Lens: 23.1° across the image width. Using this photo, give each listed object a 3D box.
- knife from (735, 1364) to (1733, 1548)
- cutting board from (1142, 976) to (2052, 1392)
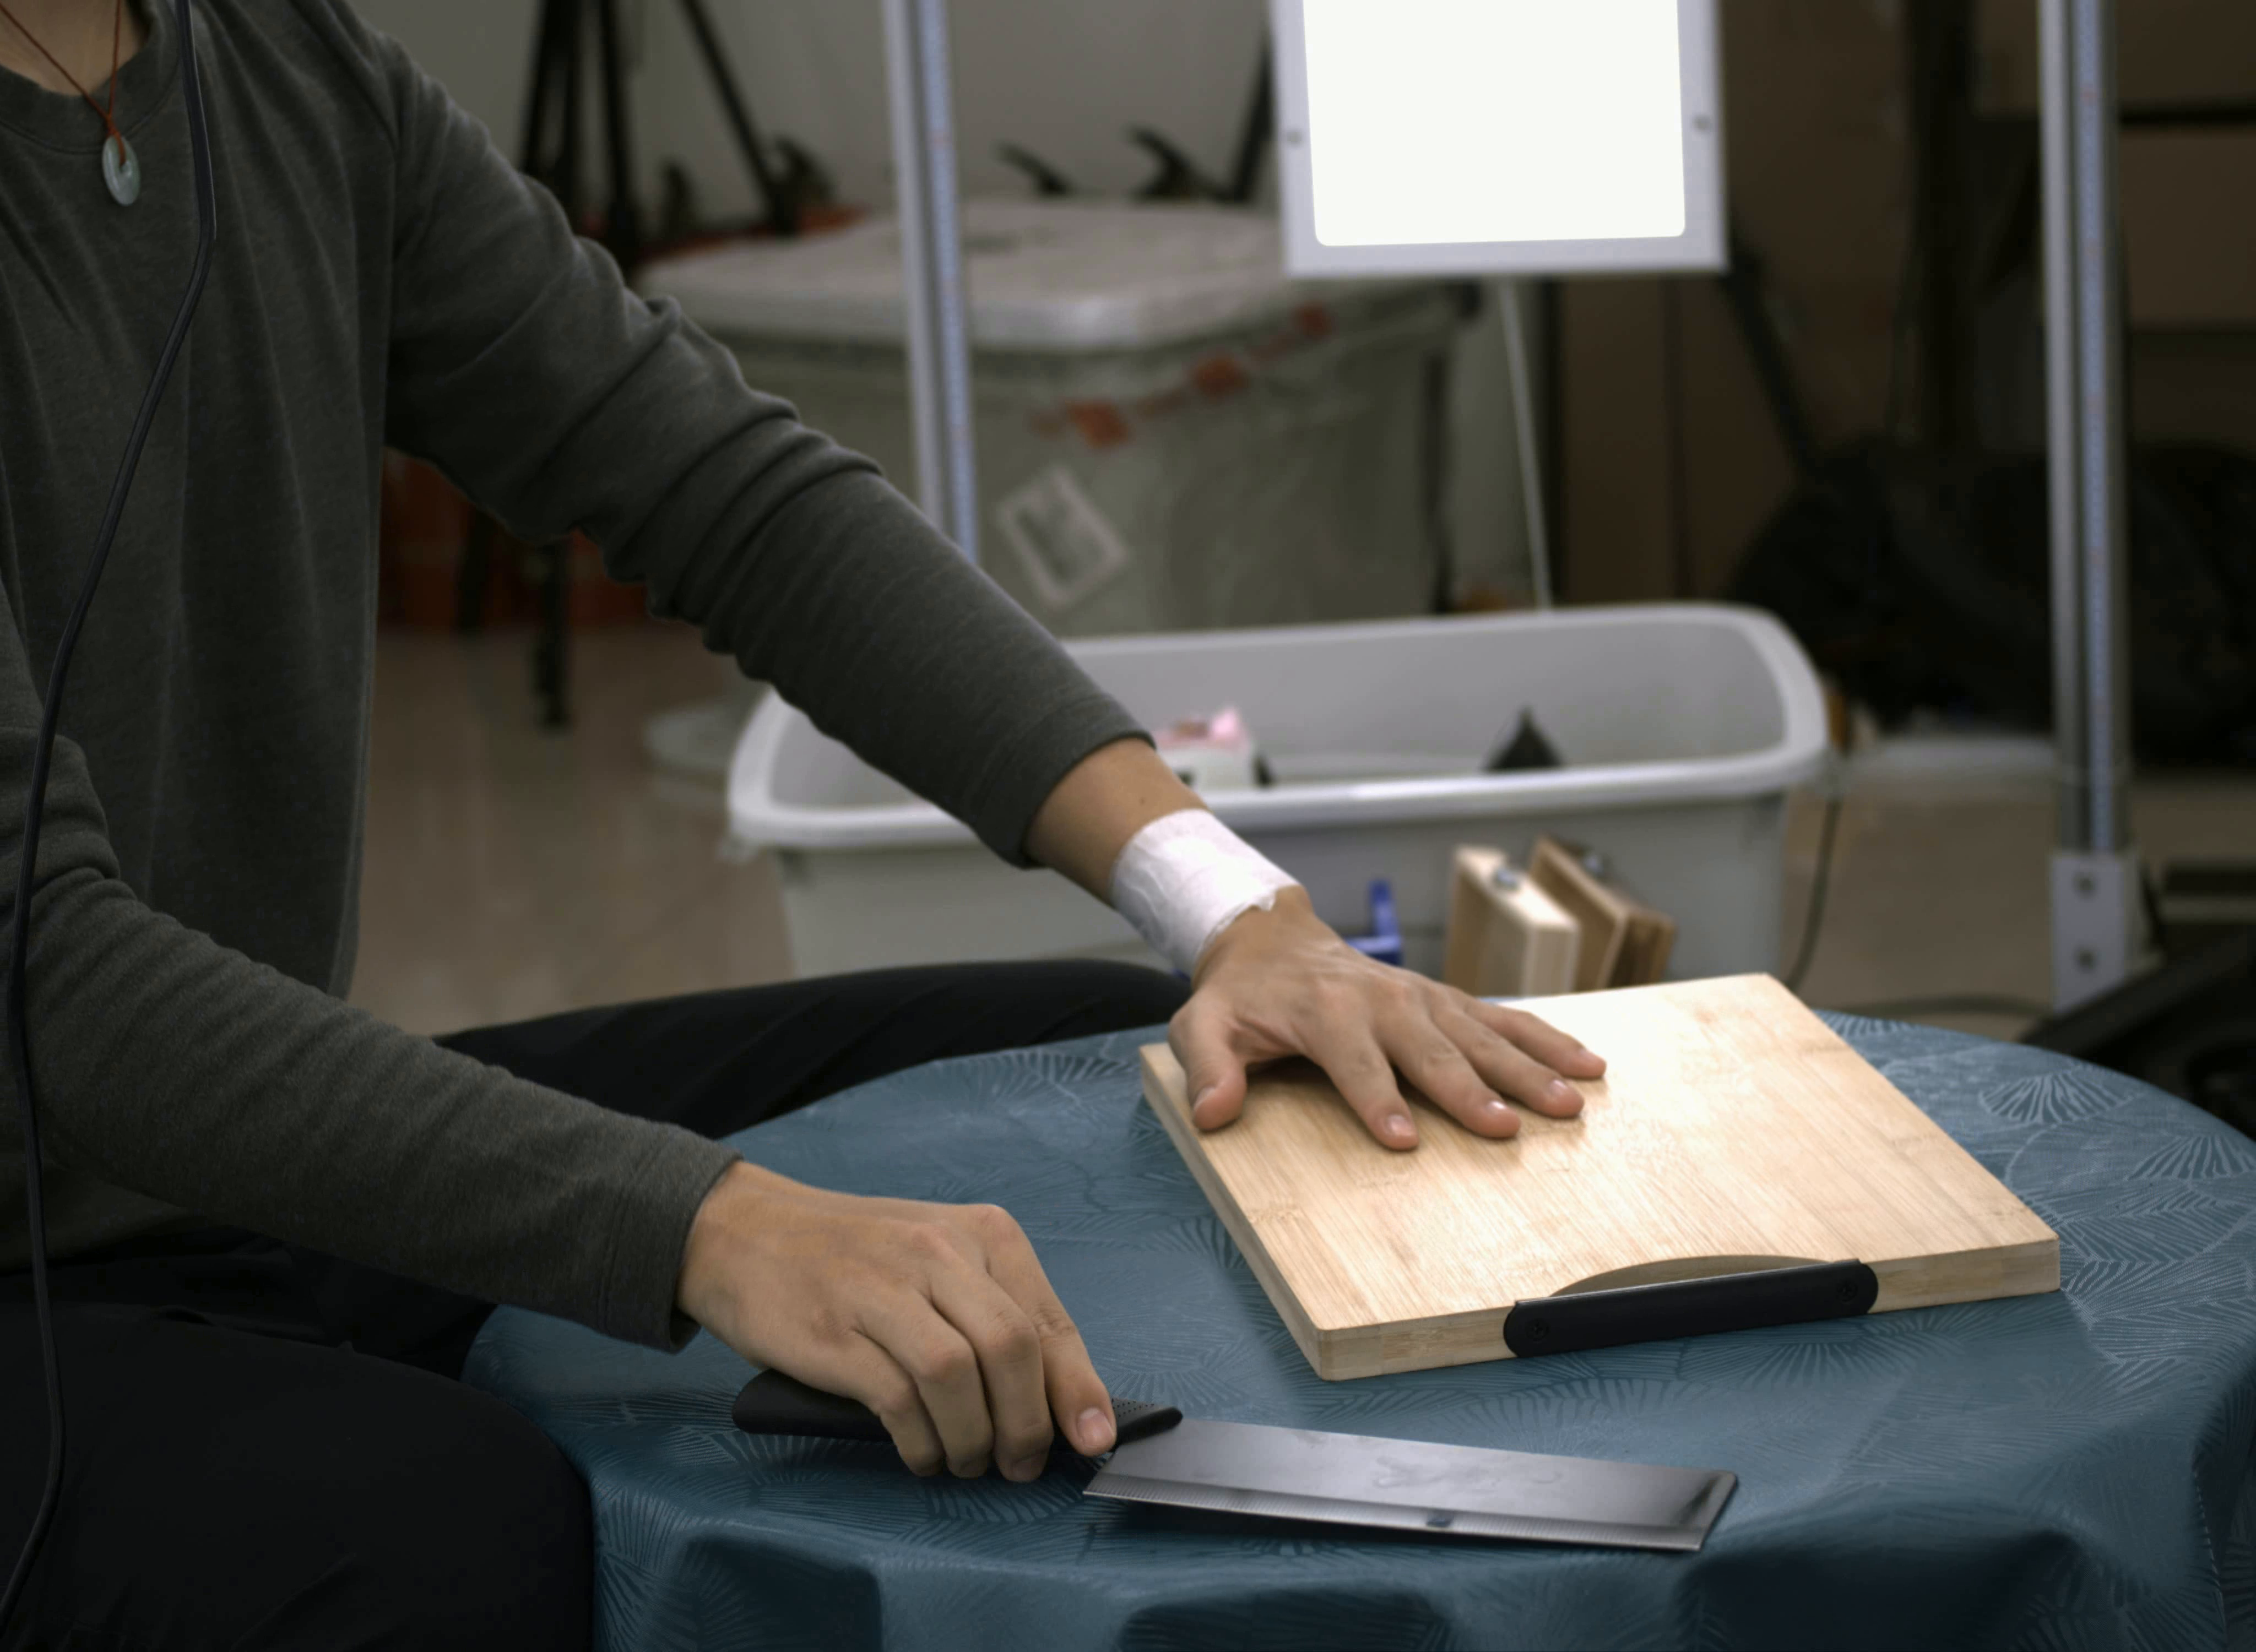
[{"bbox_3d":[0.026,0.185,1.608,0.307,0.021,0.079,4,19,23],"label":"knife"},{"bbox_3d":[0.150,0.115,1.863,0.248,0.023,0.350,-8,14,-7],"label":"cutting board"}]
